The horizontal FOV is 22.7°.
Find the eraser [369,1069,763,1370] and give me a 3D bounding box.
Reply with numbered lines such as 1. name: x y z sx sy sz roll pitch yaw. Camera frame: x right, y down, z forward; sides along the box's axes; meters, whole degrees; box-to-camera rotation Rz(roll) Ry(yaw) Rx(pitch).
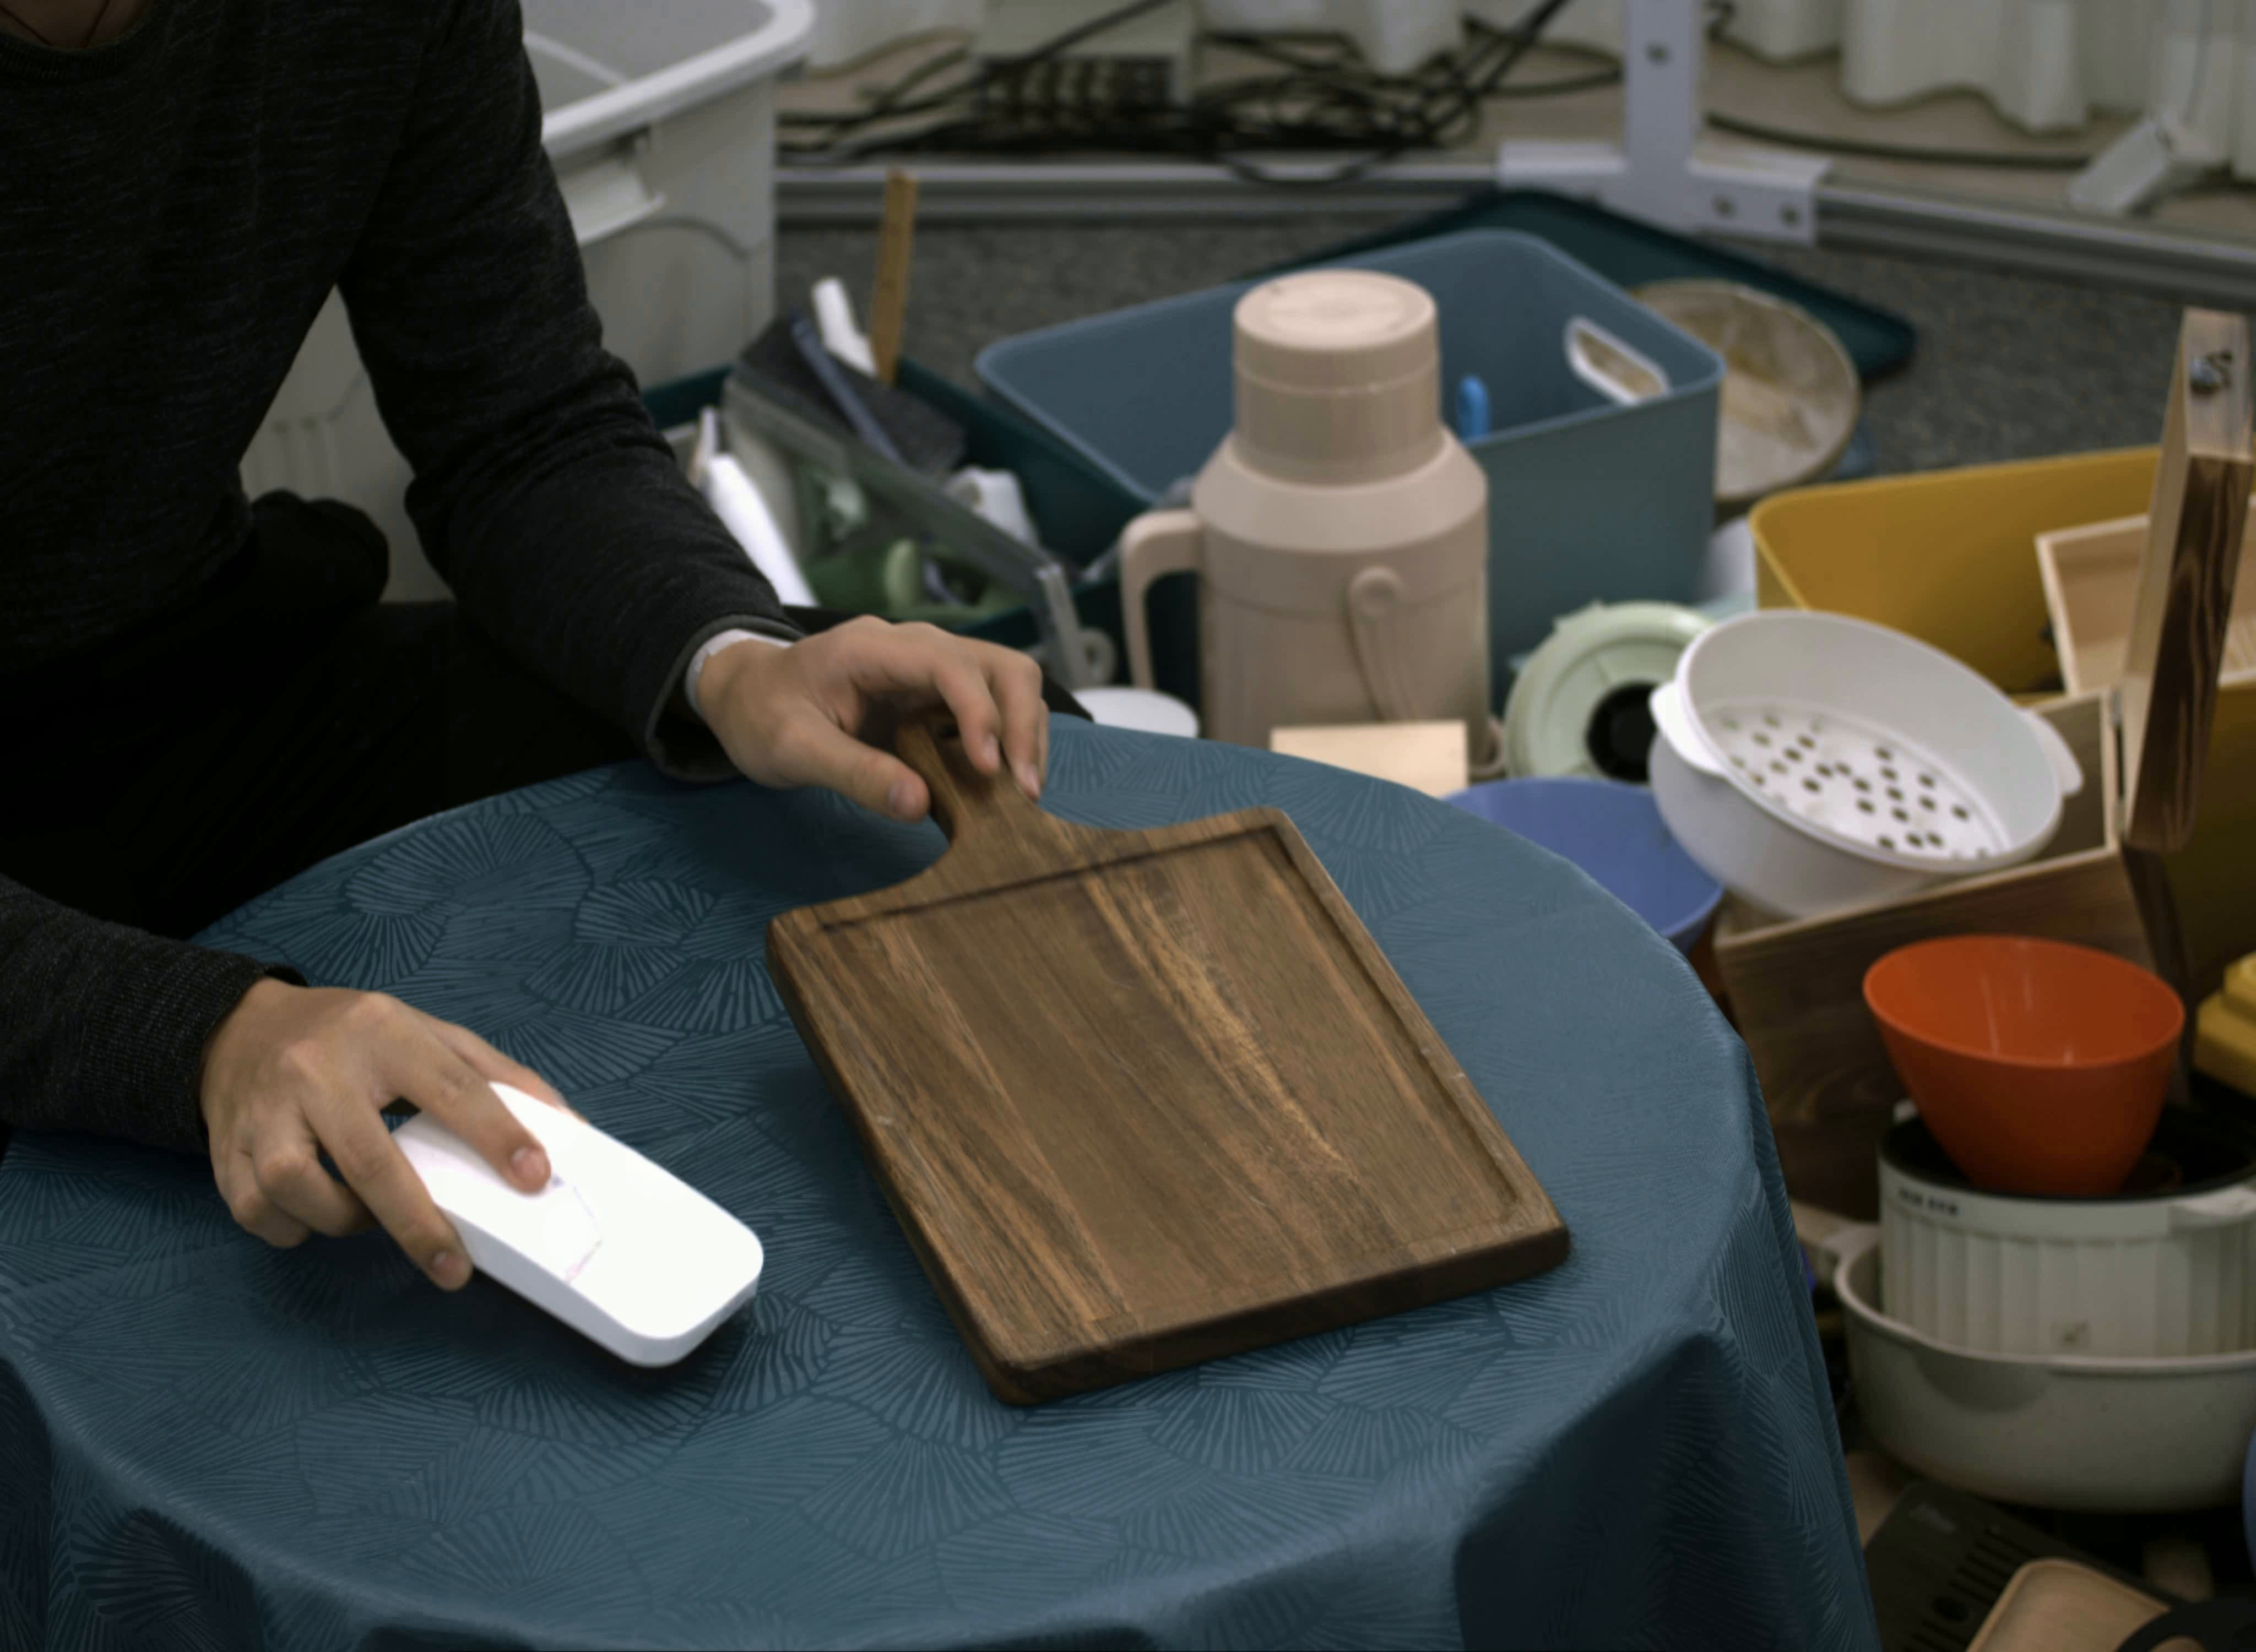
1. eraser: -0.179 0.123 1.791 0.131 0.034 0.064 29 43 26

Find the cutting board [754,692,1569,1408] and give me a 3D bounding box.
1. cutting board: -0.011 0.057 1.903 0.201 0.023 0.356 -12 38 -18
